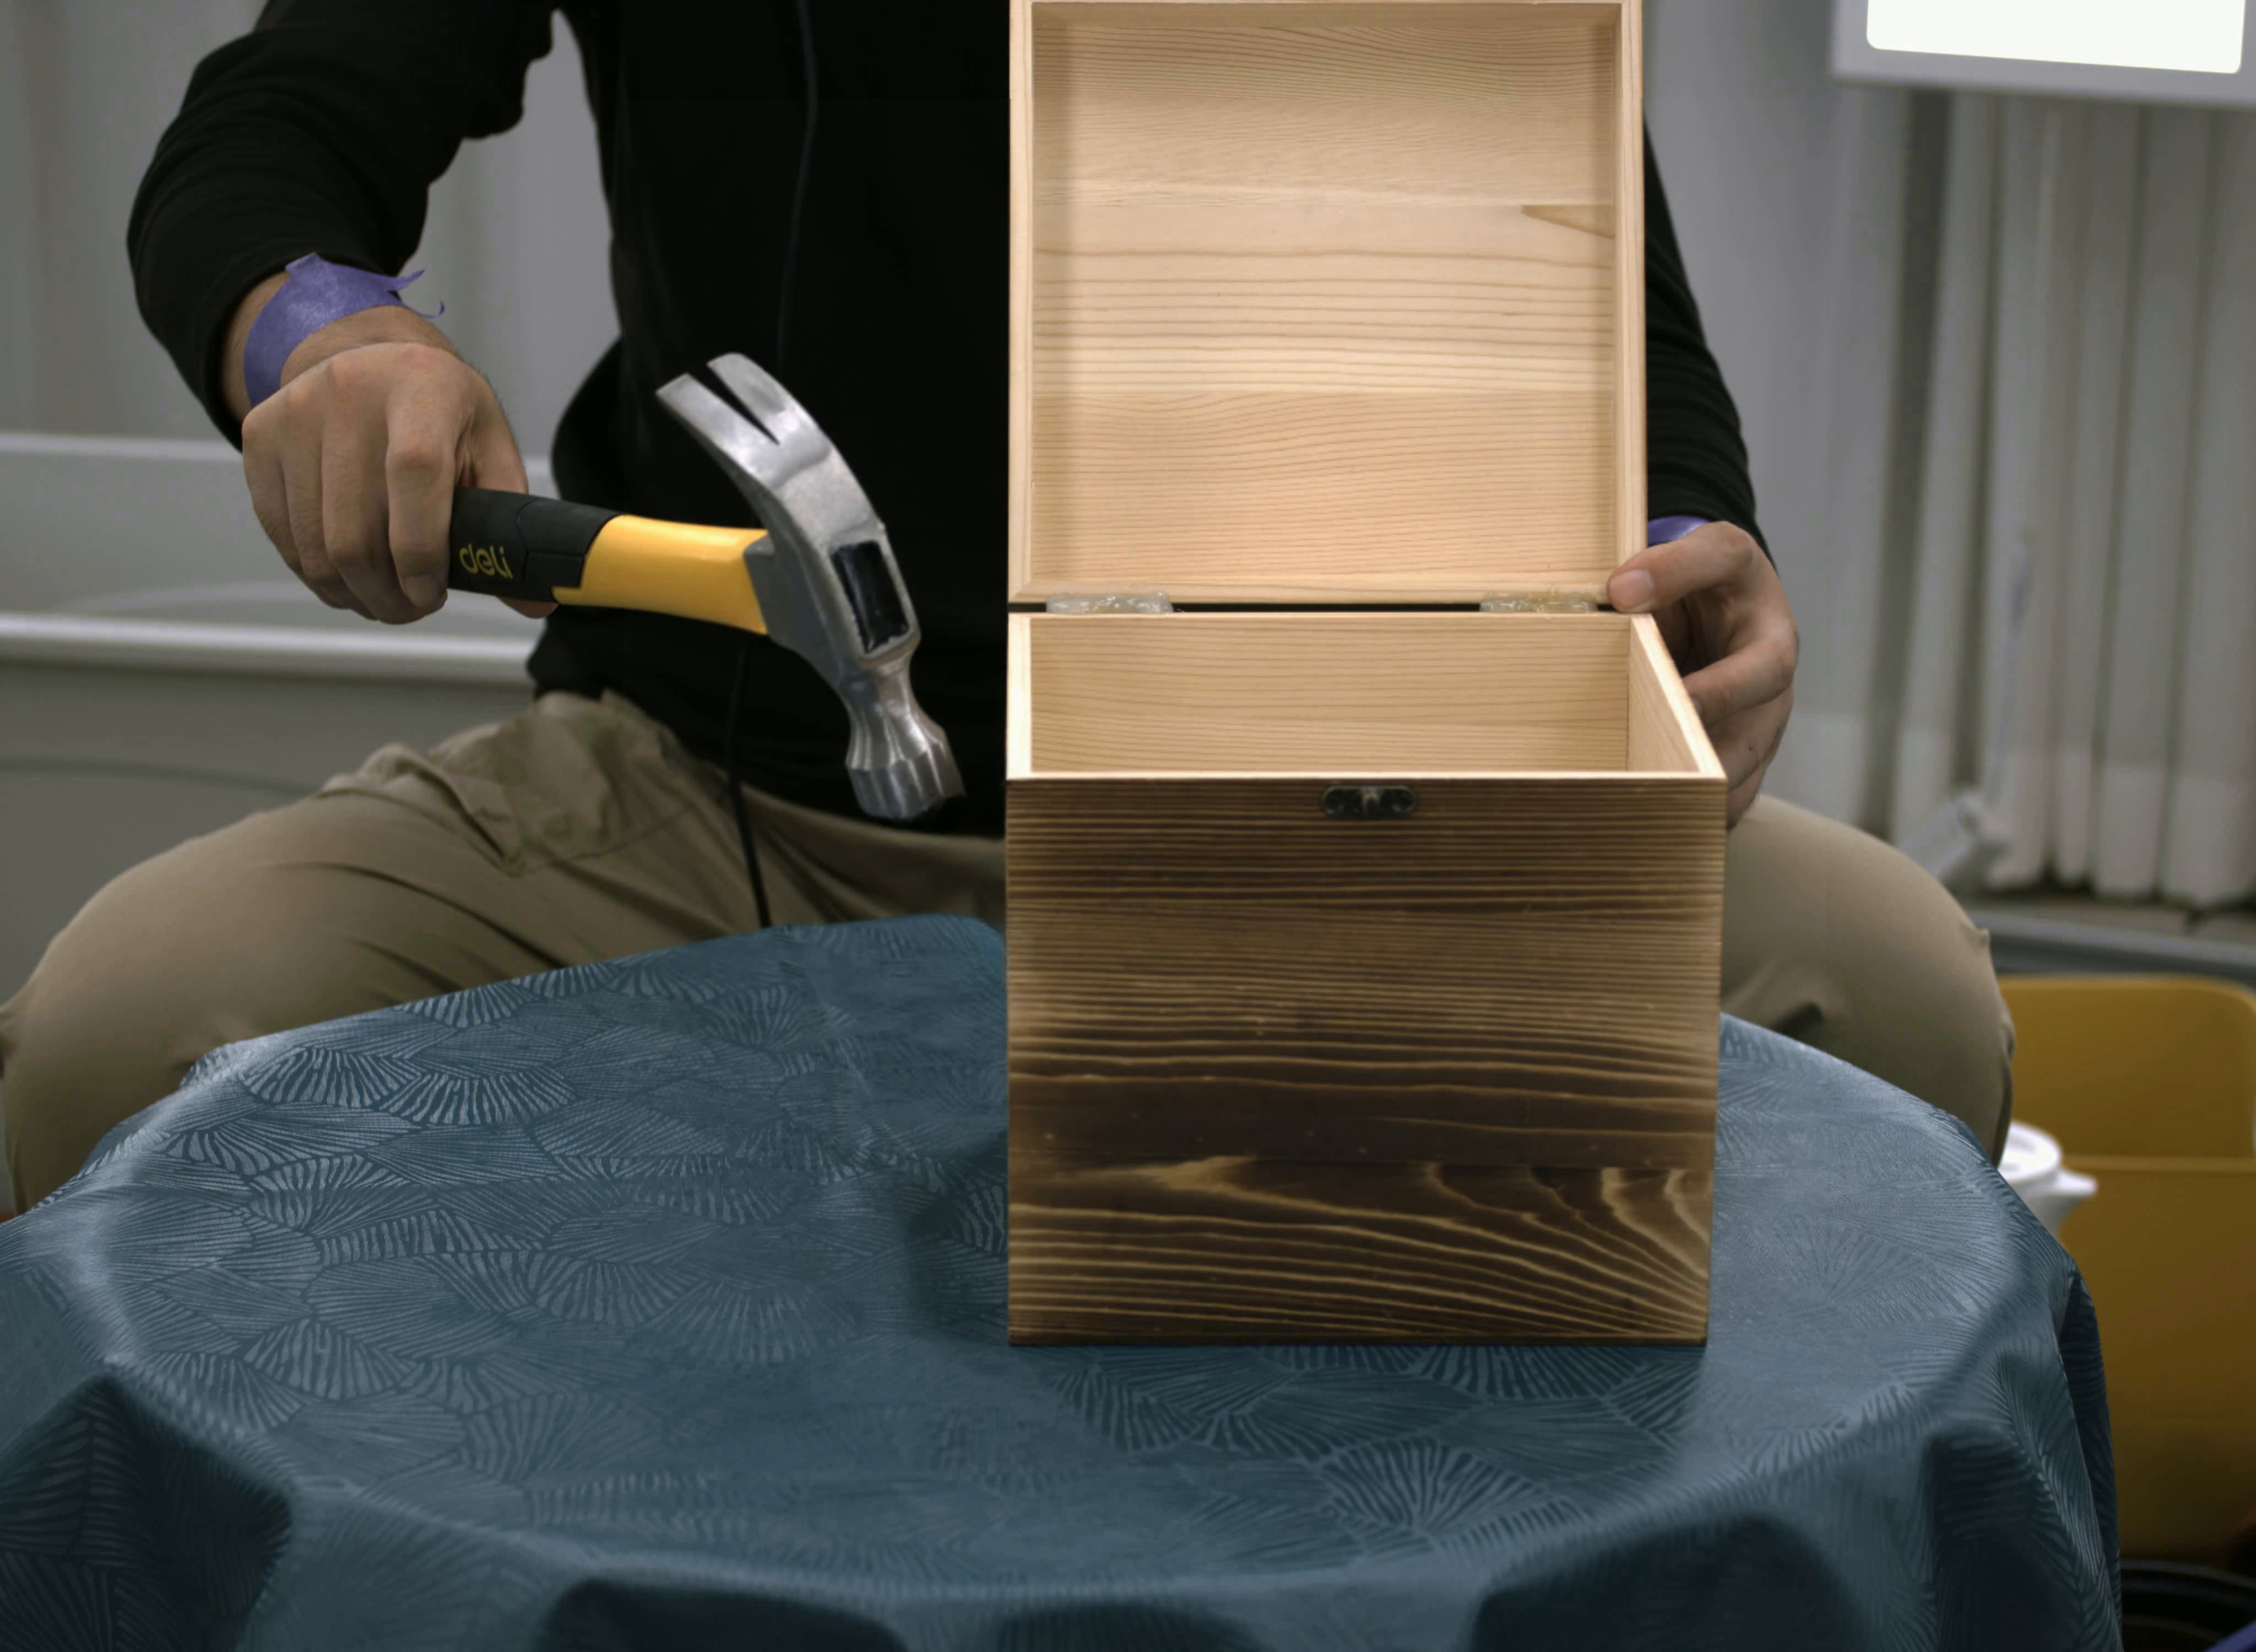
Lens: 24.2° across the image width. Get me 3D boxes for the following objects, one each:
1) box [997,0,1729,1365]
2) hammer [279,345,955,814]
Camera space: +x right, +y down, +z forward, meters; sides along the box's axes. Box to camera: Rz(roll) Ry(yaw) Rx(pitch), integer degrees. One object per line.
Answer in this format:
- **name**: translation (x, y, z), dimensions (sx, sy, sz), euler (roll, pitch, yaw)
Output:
- **box**: translation (0.063, -0.067, 1.589), dimensions (0.208, 0.378, 0.320), euler (0, 16, -1)
- **hammer**: translation (-0.170, -0.084, 1.606), dimensions (0.032, 0.133, 0.334), euler (-30, 22, -30)
